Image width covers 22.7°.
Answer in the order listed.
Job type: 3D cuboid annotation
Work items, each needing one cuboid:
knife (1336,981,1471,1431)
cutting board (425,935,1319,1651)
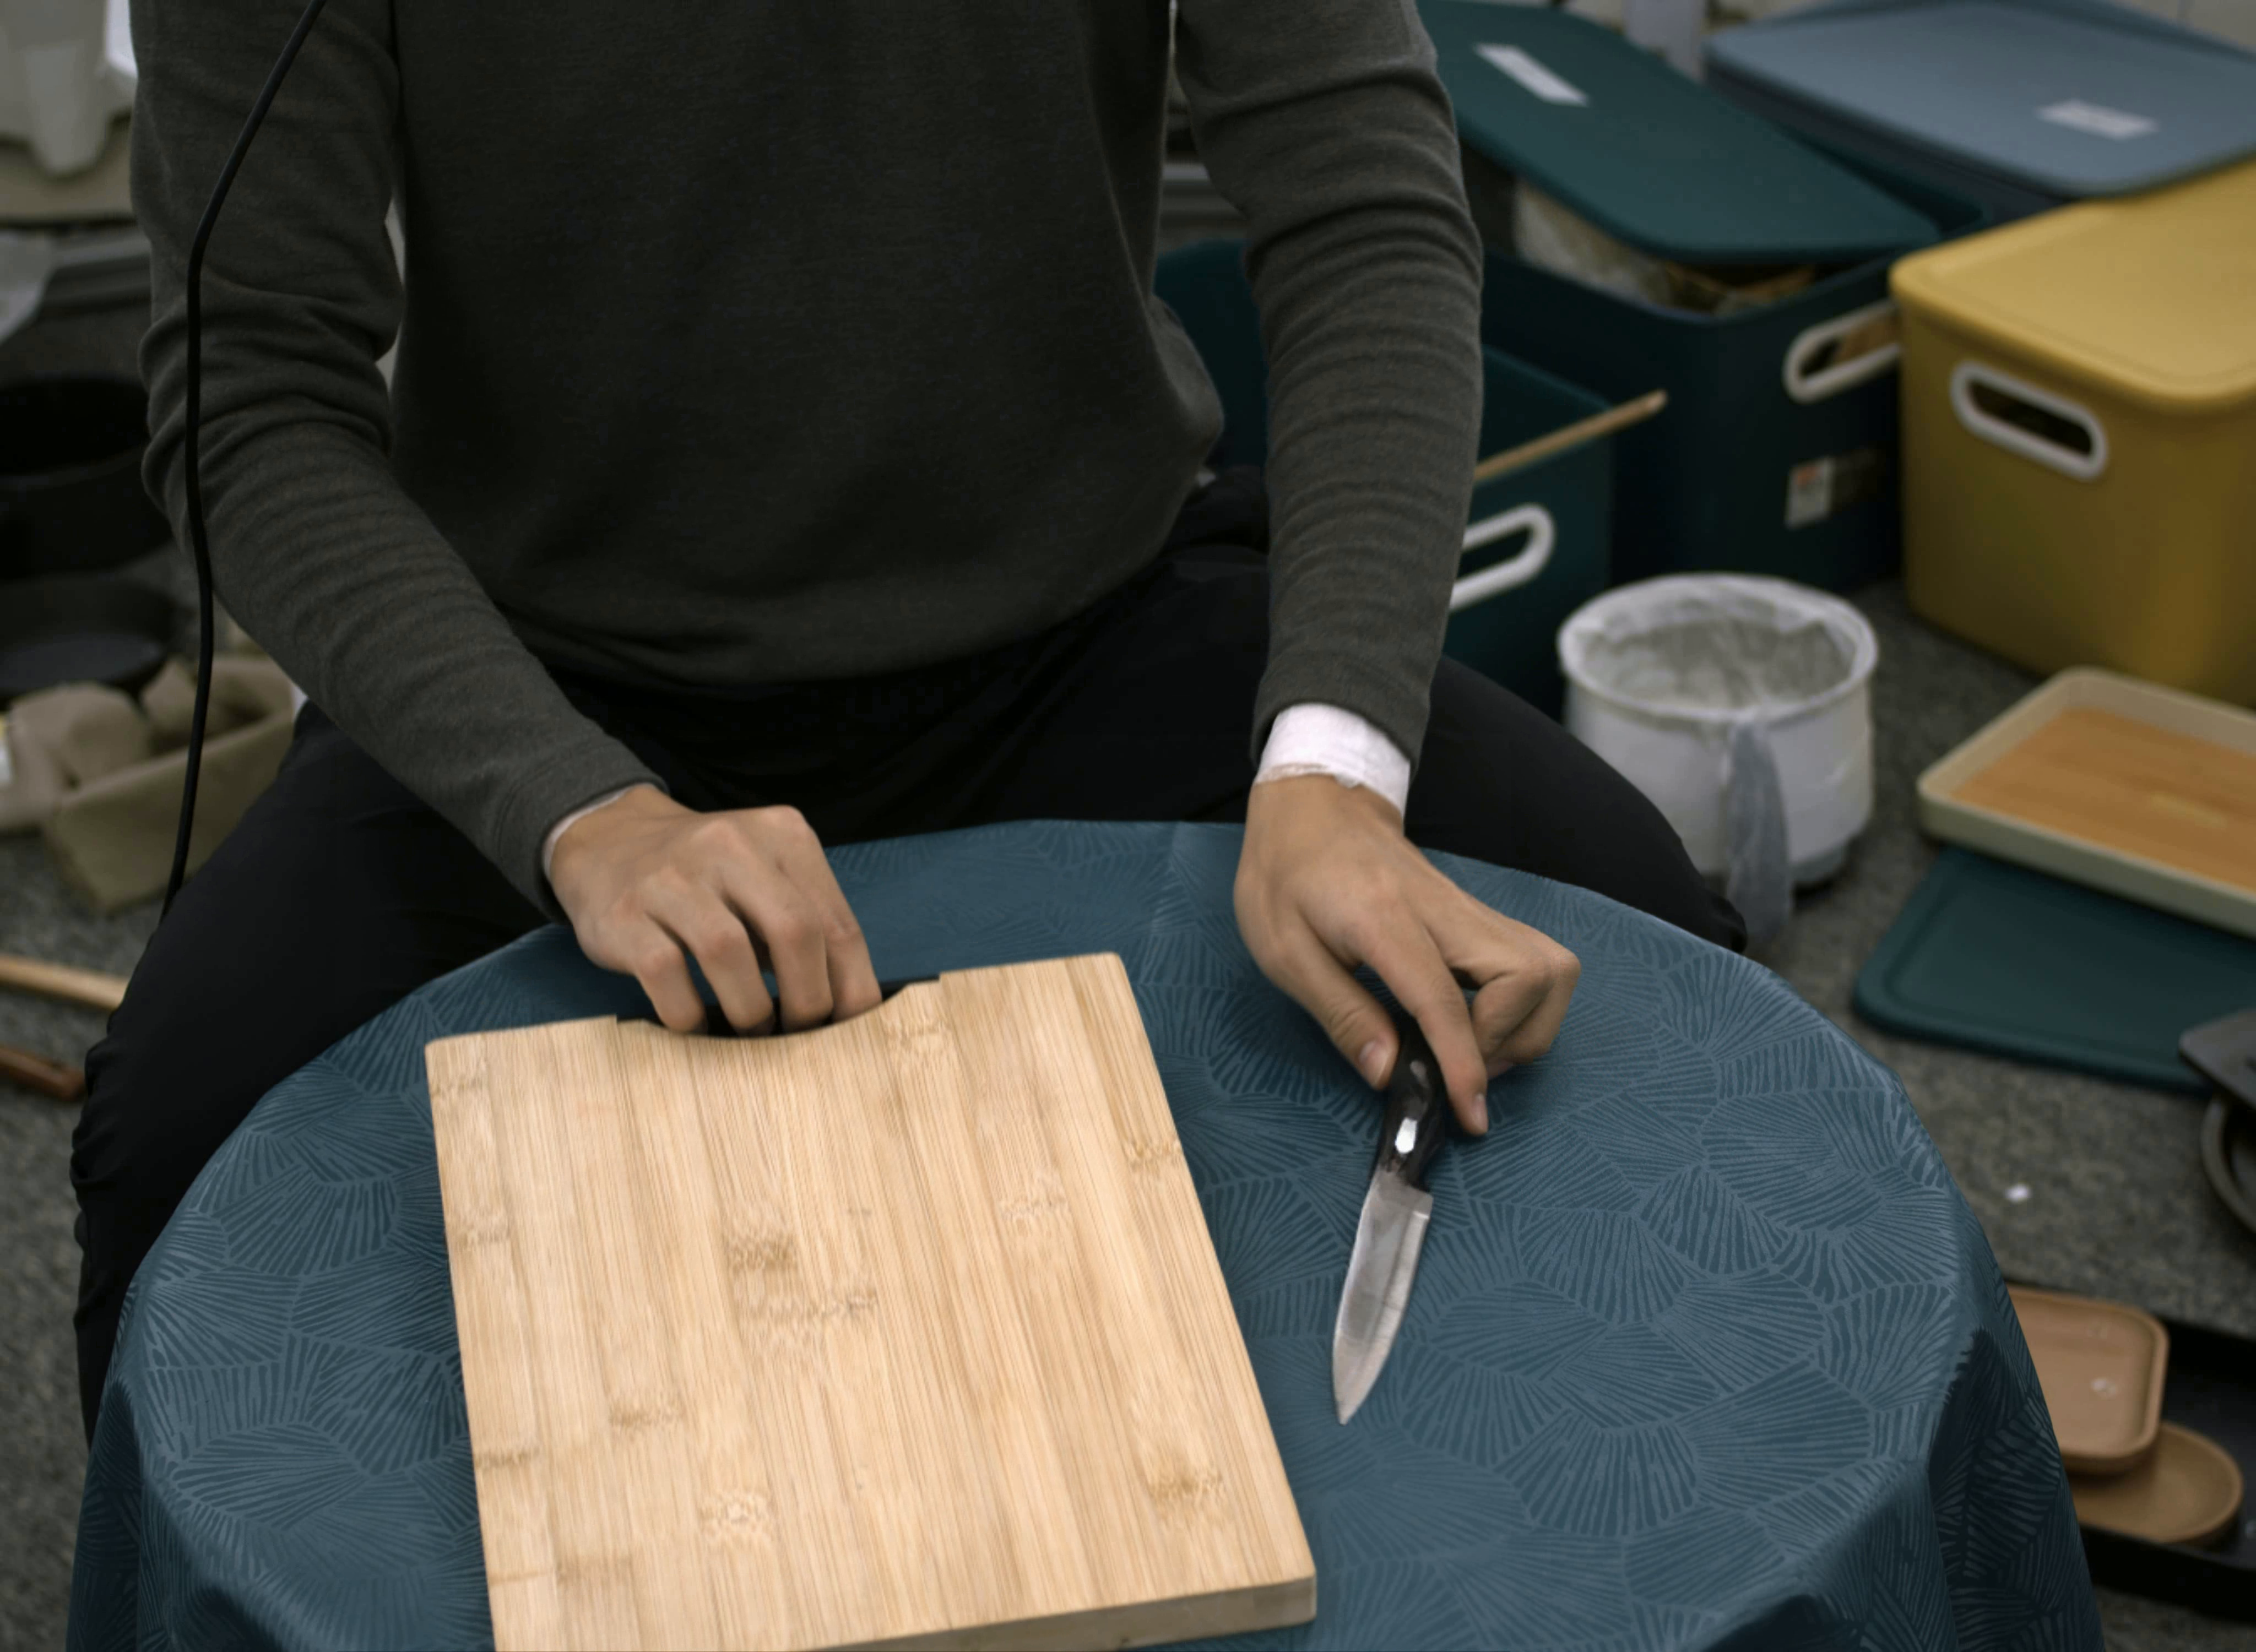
[{"bbox_3d":[0.087,0.121,1.833,0.024,0.016,0.242,15,34,2],"label":"knife"},{"bbox_3d":[-0.091,0.149,1.772,0.250,0.023,0.353,-7,32,-9],"label":"cutting board"}]
